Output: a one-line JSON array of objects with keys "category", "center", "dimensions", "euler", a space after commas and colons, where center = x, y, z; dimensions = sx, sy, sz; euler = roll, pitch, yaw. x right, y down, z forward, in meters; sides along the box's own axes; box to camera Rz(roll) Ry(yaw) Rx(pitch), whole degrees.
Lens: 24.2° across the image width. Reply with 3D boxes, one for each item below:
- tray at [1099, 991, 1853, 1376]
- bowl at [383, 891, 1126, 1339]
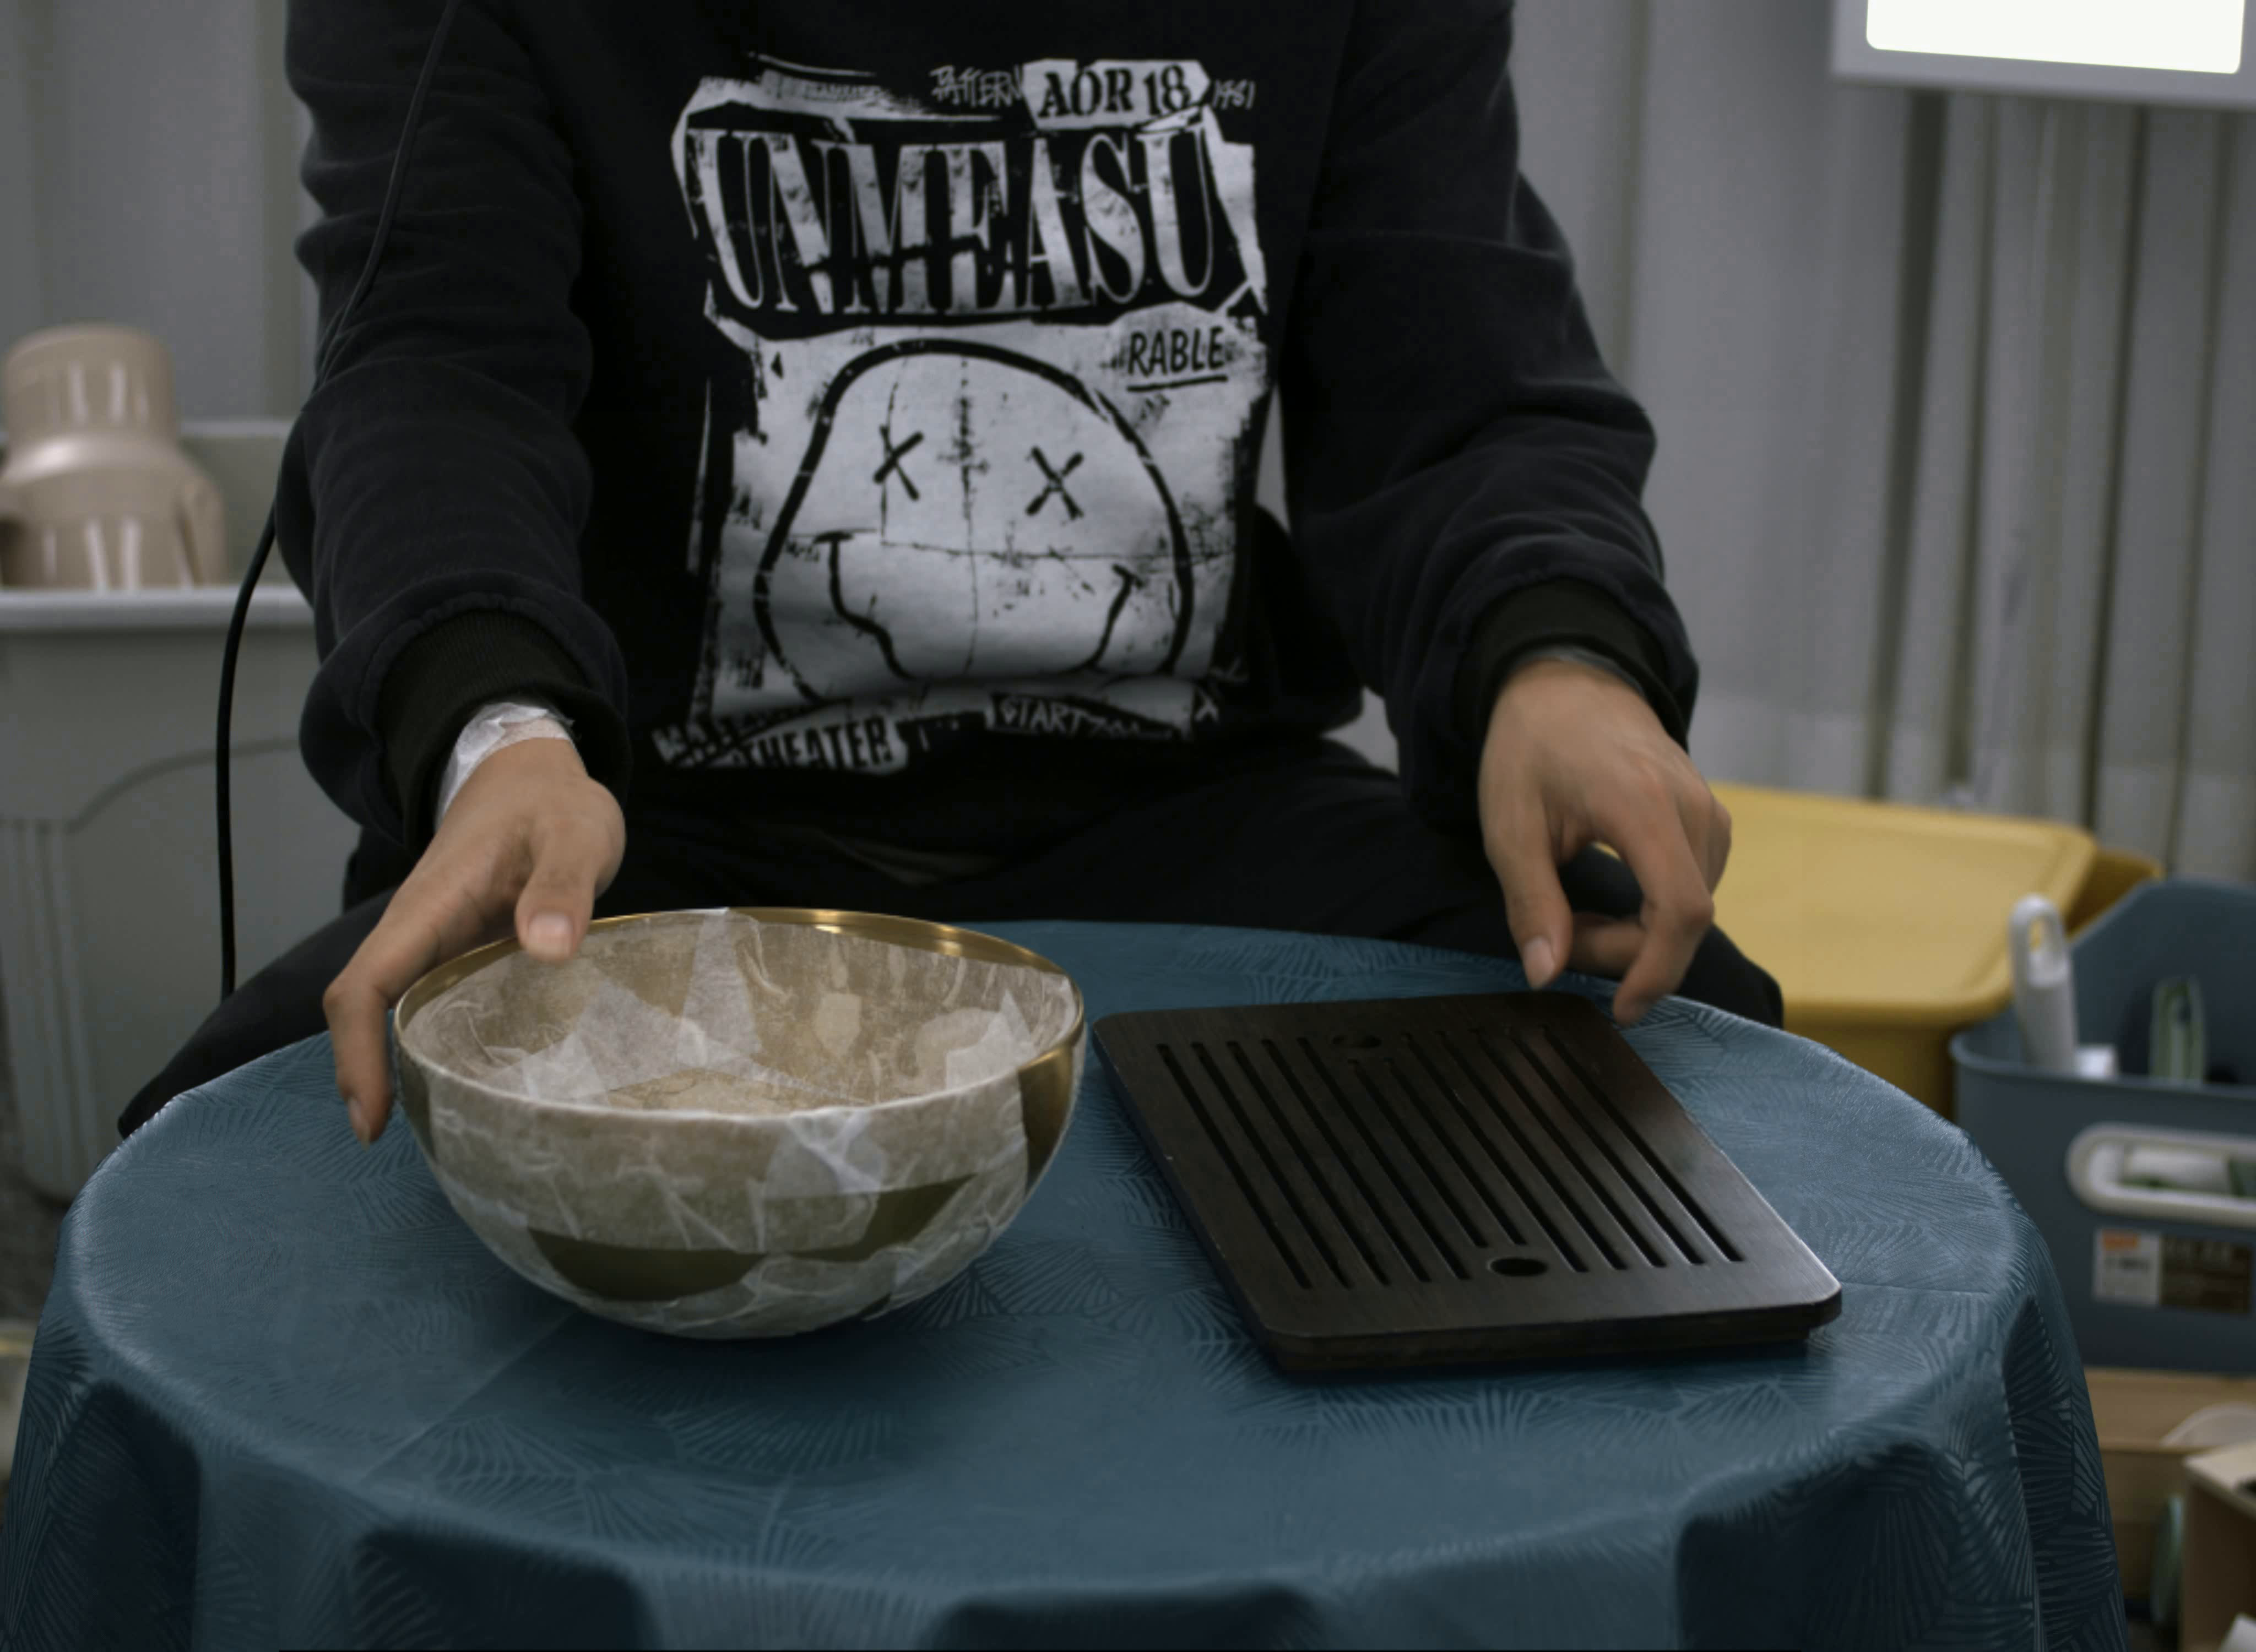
[{"category": "tray", "center": [0.098, 0.106, 1.620], "dimensions": [0.170, 0.019, 0.303], "euler": [-2, 16, -10]}, {"category": "bowl", "center": [-0.108, 0.092, 1.523], "dimensions": [0.214, 0.095, 0.213], "euler": [0, 16, 0]}]
